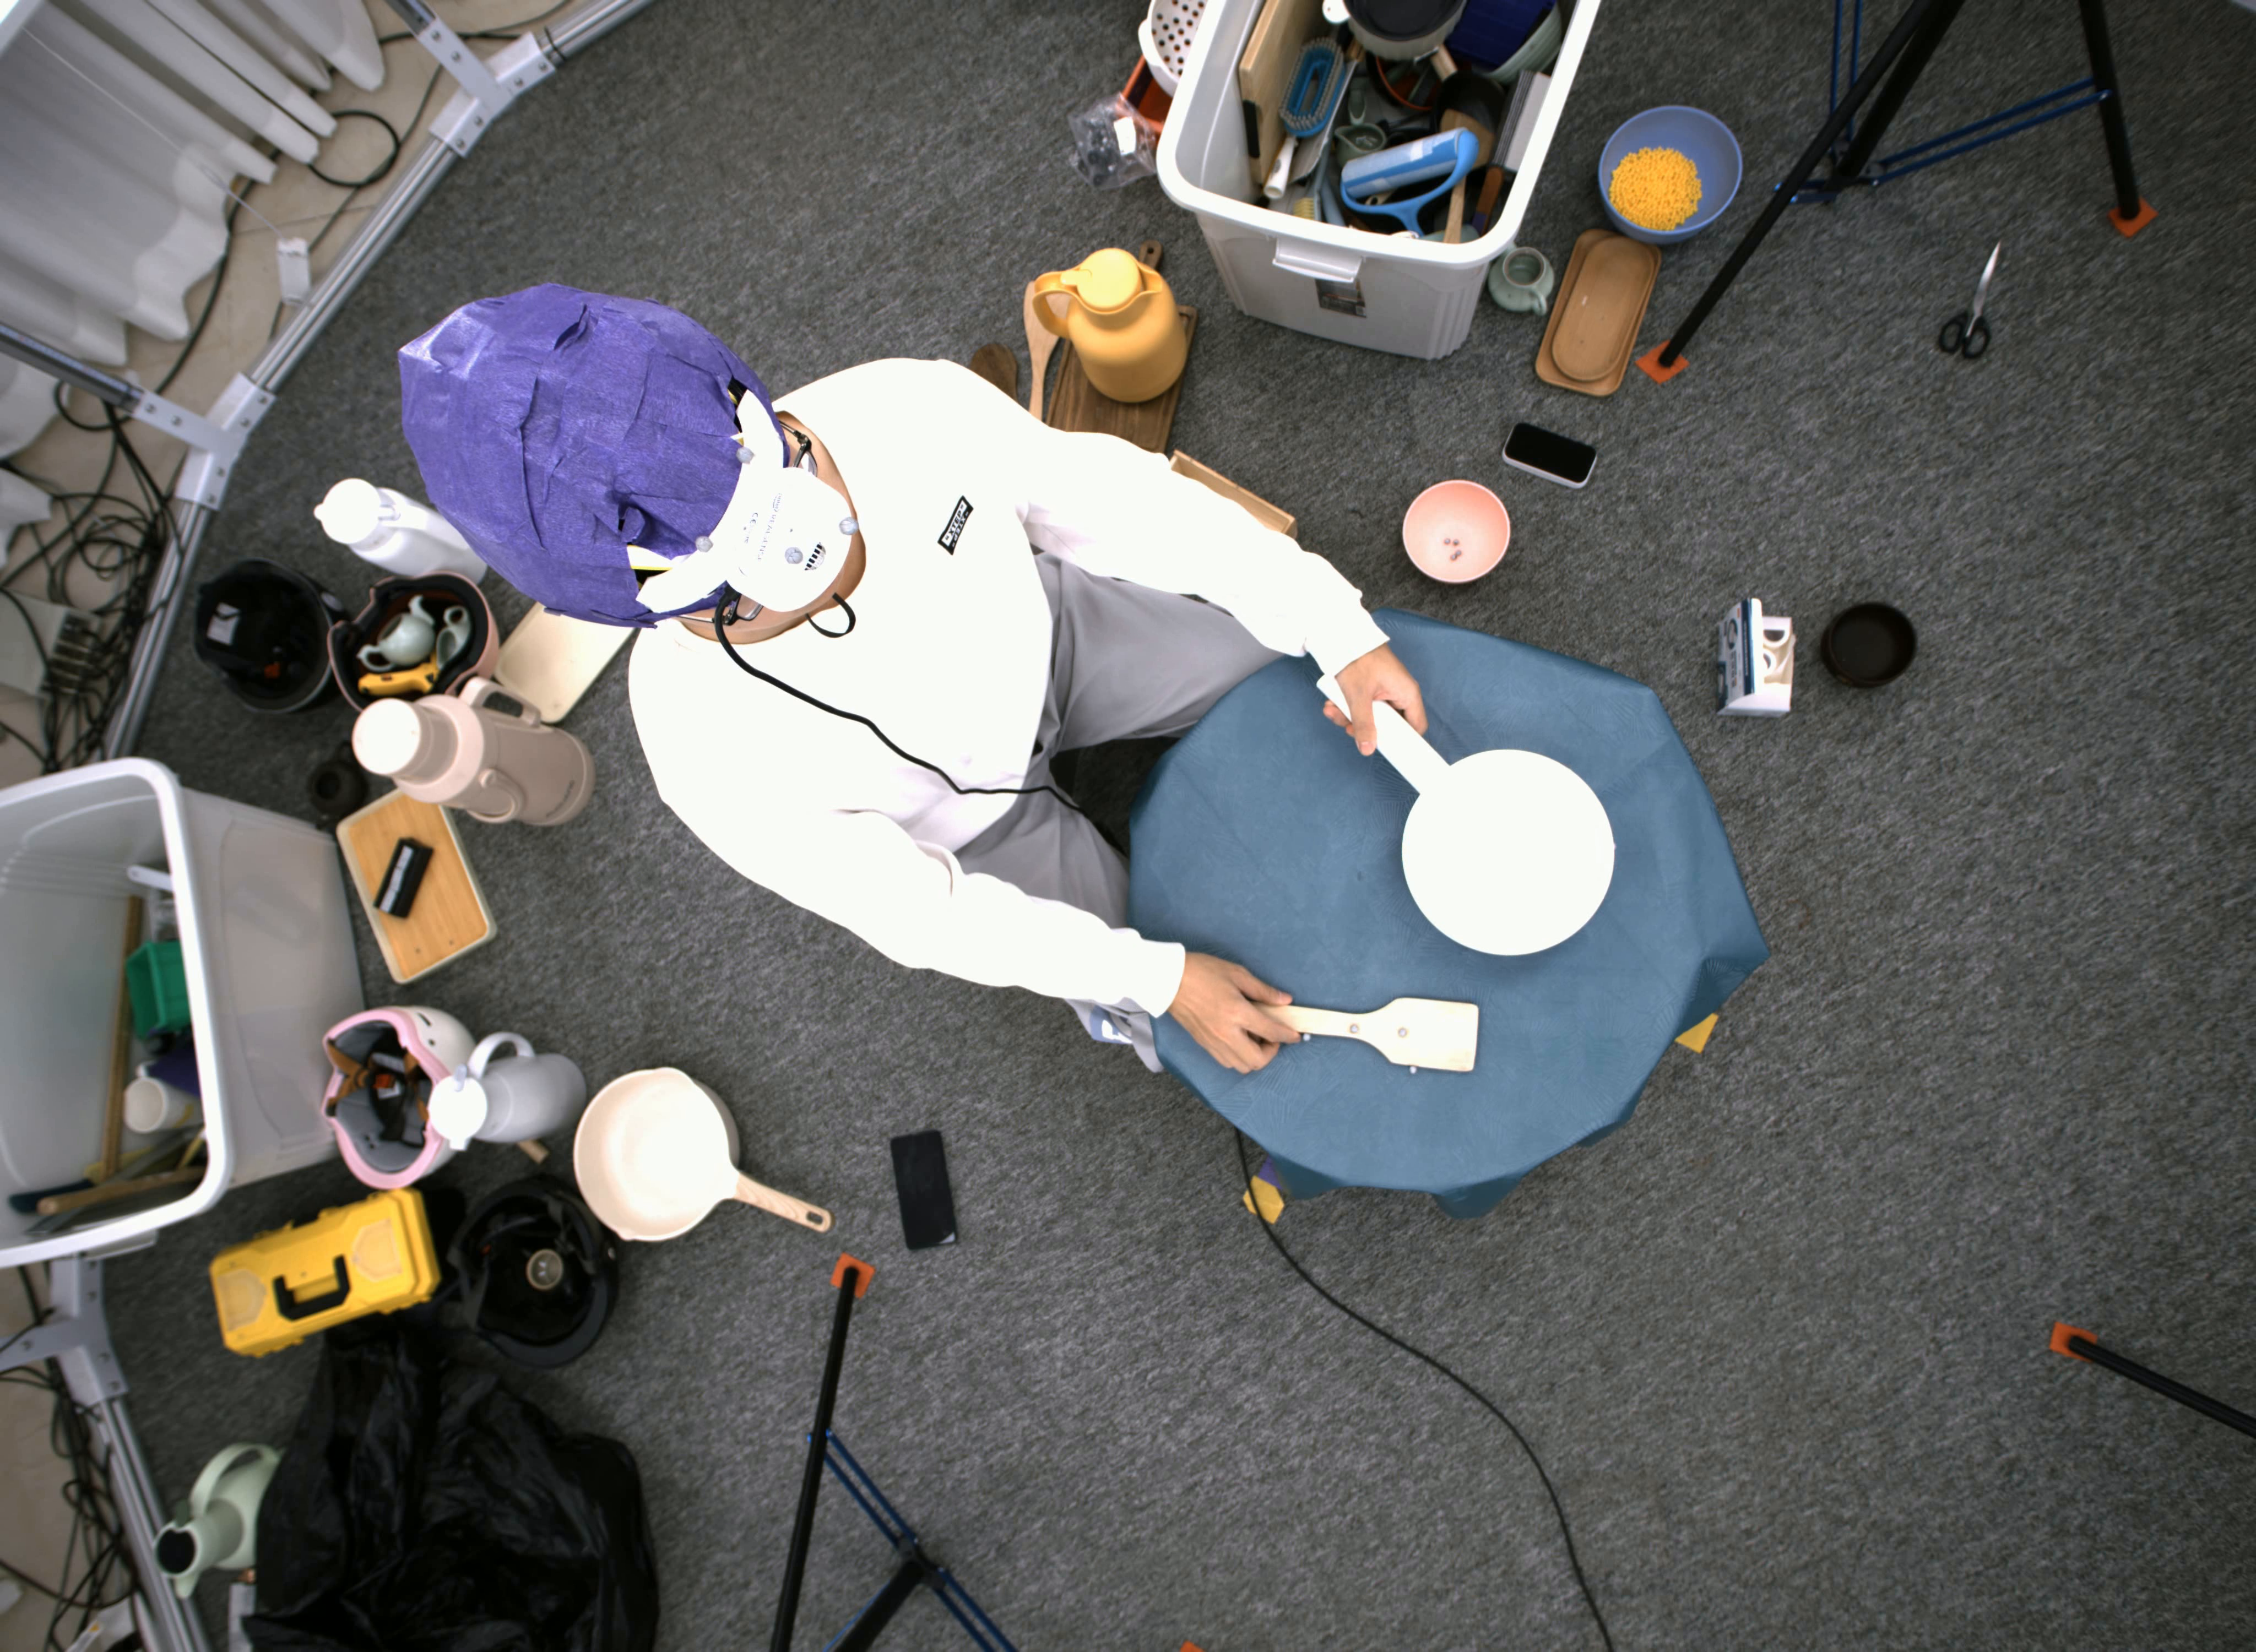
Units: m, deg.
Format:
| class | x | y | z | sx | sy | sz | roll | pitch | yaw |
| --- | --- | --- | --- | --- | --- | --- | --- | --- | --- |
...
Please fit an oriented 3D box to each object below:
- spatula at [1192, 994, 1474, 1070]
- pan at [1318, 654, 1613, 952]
| class | x | y | z | sx | sy | sz | roll | pitch | yaw |
| --- | --- | --- | --- | --- | --- | --- | --- | --- | --- |
| spatula | 0.212 | 0.204 | 1.451 | 0.294 | 0.011 | 0.072 | 5 | 86 | 10 |
| pan | 0.327 | -0.029 | 1.399 | 0.202 | 0.102 | 0.353 | -43 | 79 | 5 |
